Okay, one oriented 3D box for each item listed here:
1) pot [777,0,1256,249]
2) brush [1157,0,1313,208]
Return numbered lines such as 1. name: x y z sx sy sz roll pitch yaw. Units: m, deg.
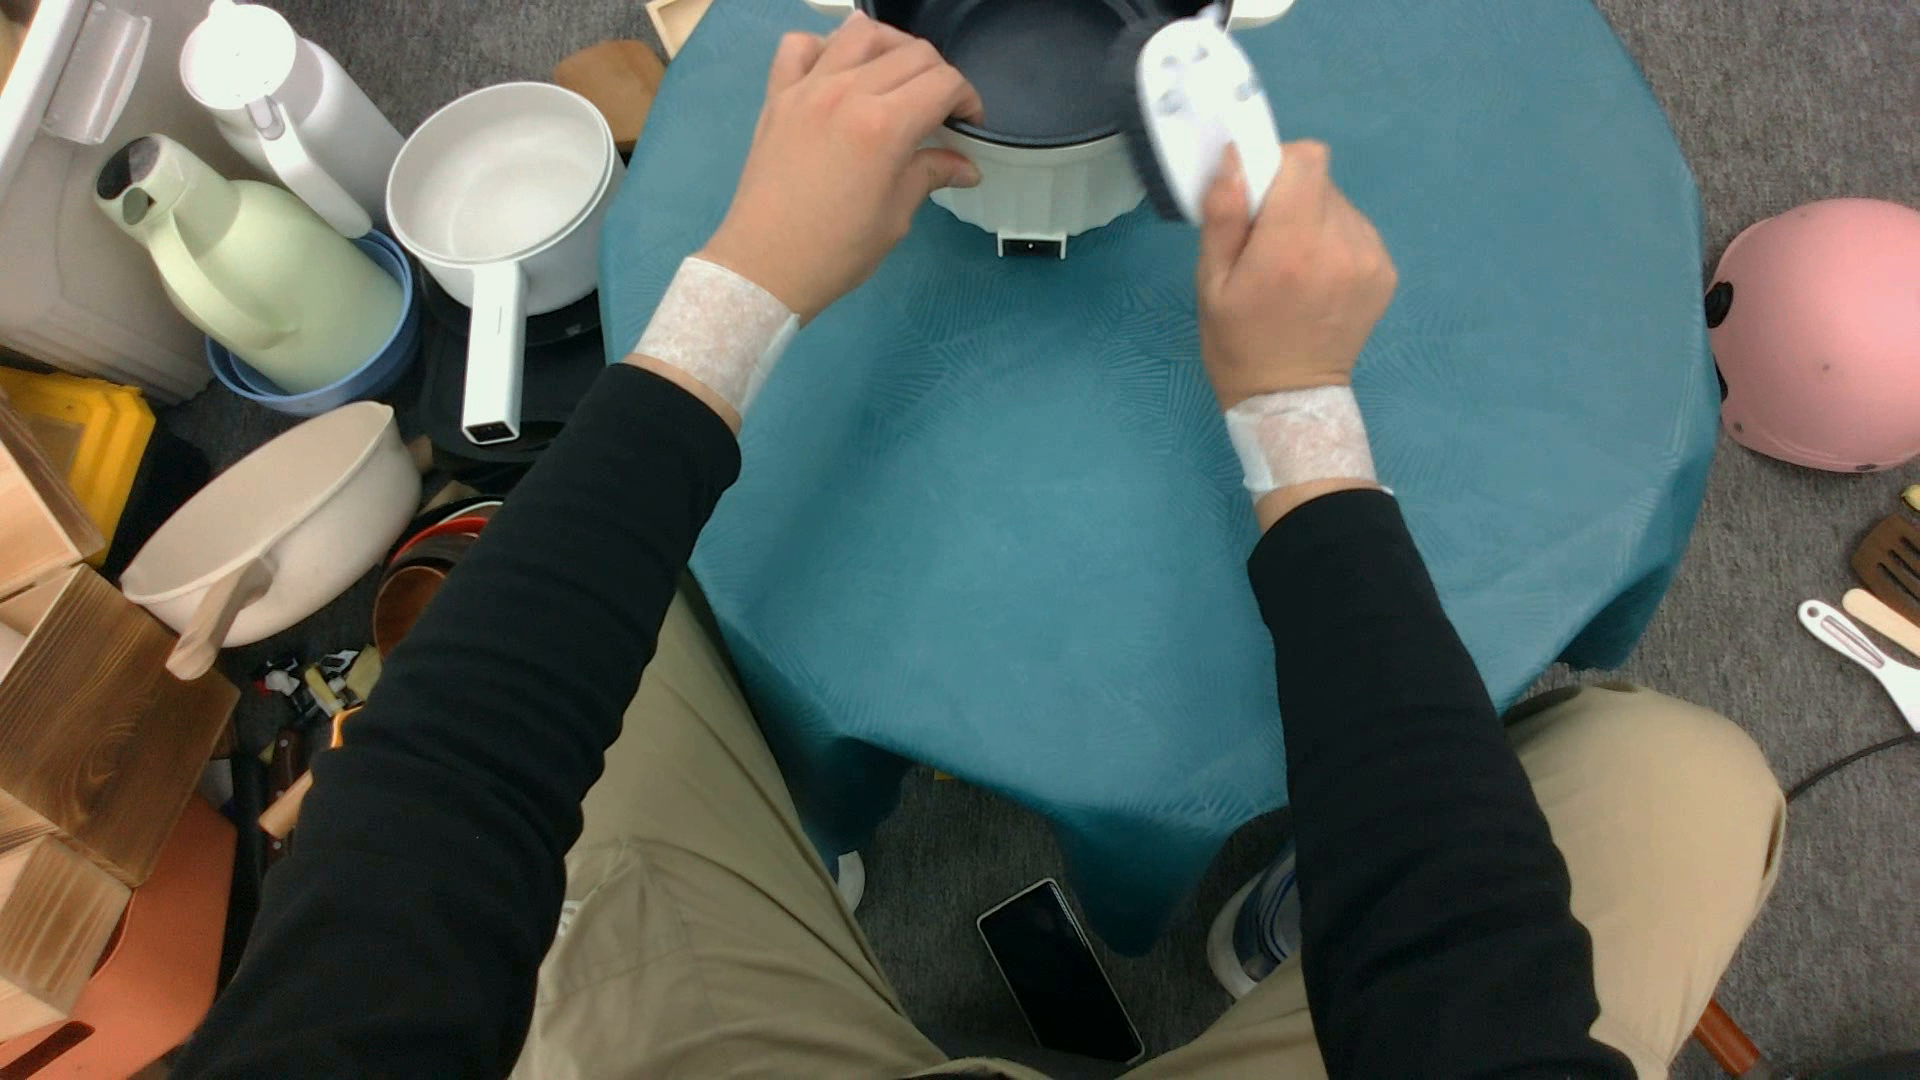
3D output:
1. pot: 0.028 -0.263 0.717 0.240 0.142 0.191 2 80 1
2. brush: 0.130 -0.198 0.619 0.050 0.072 0.099 -19 118 -19
